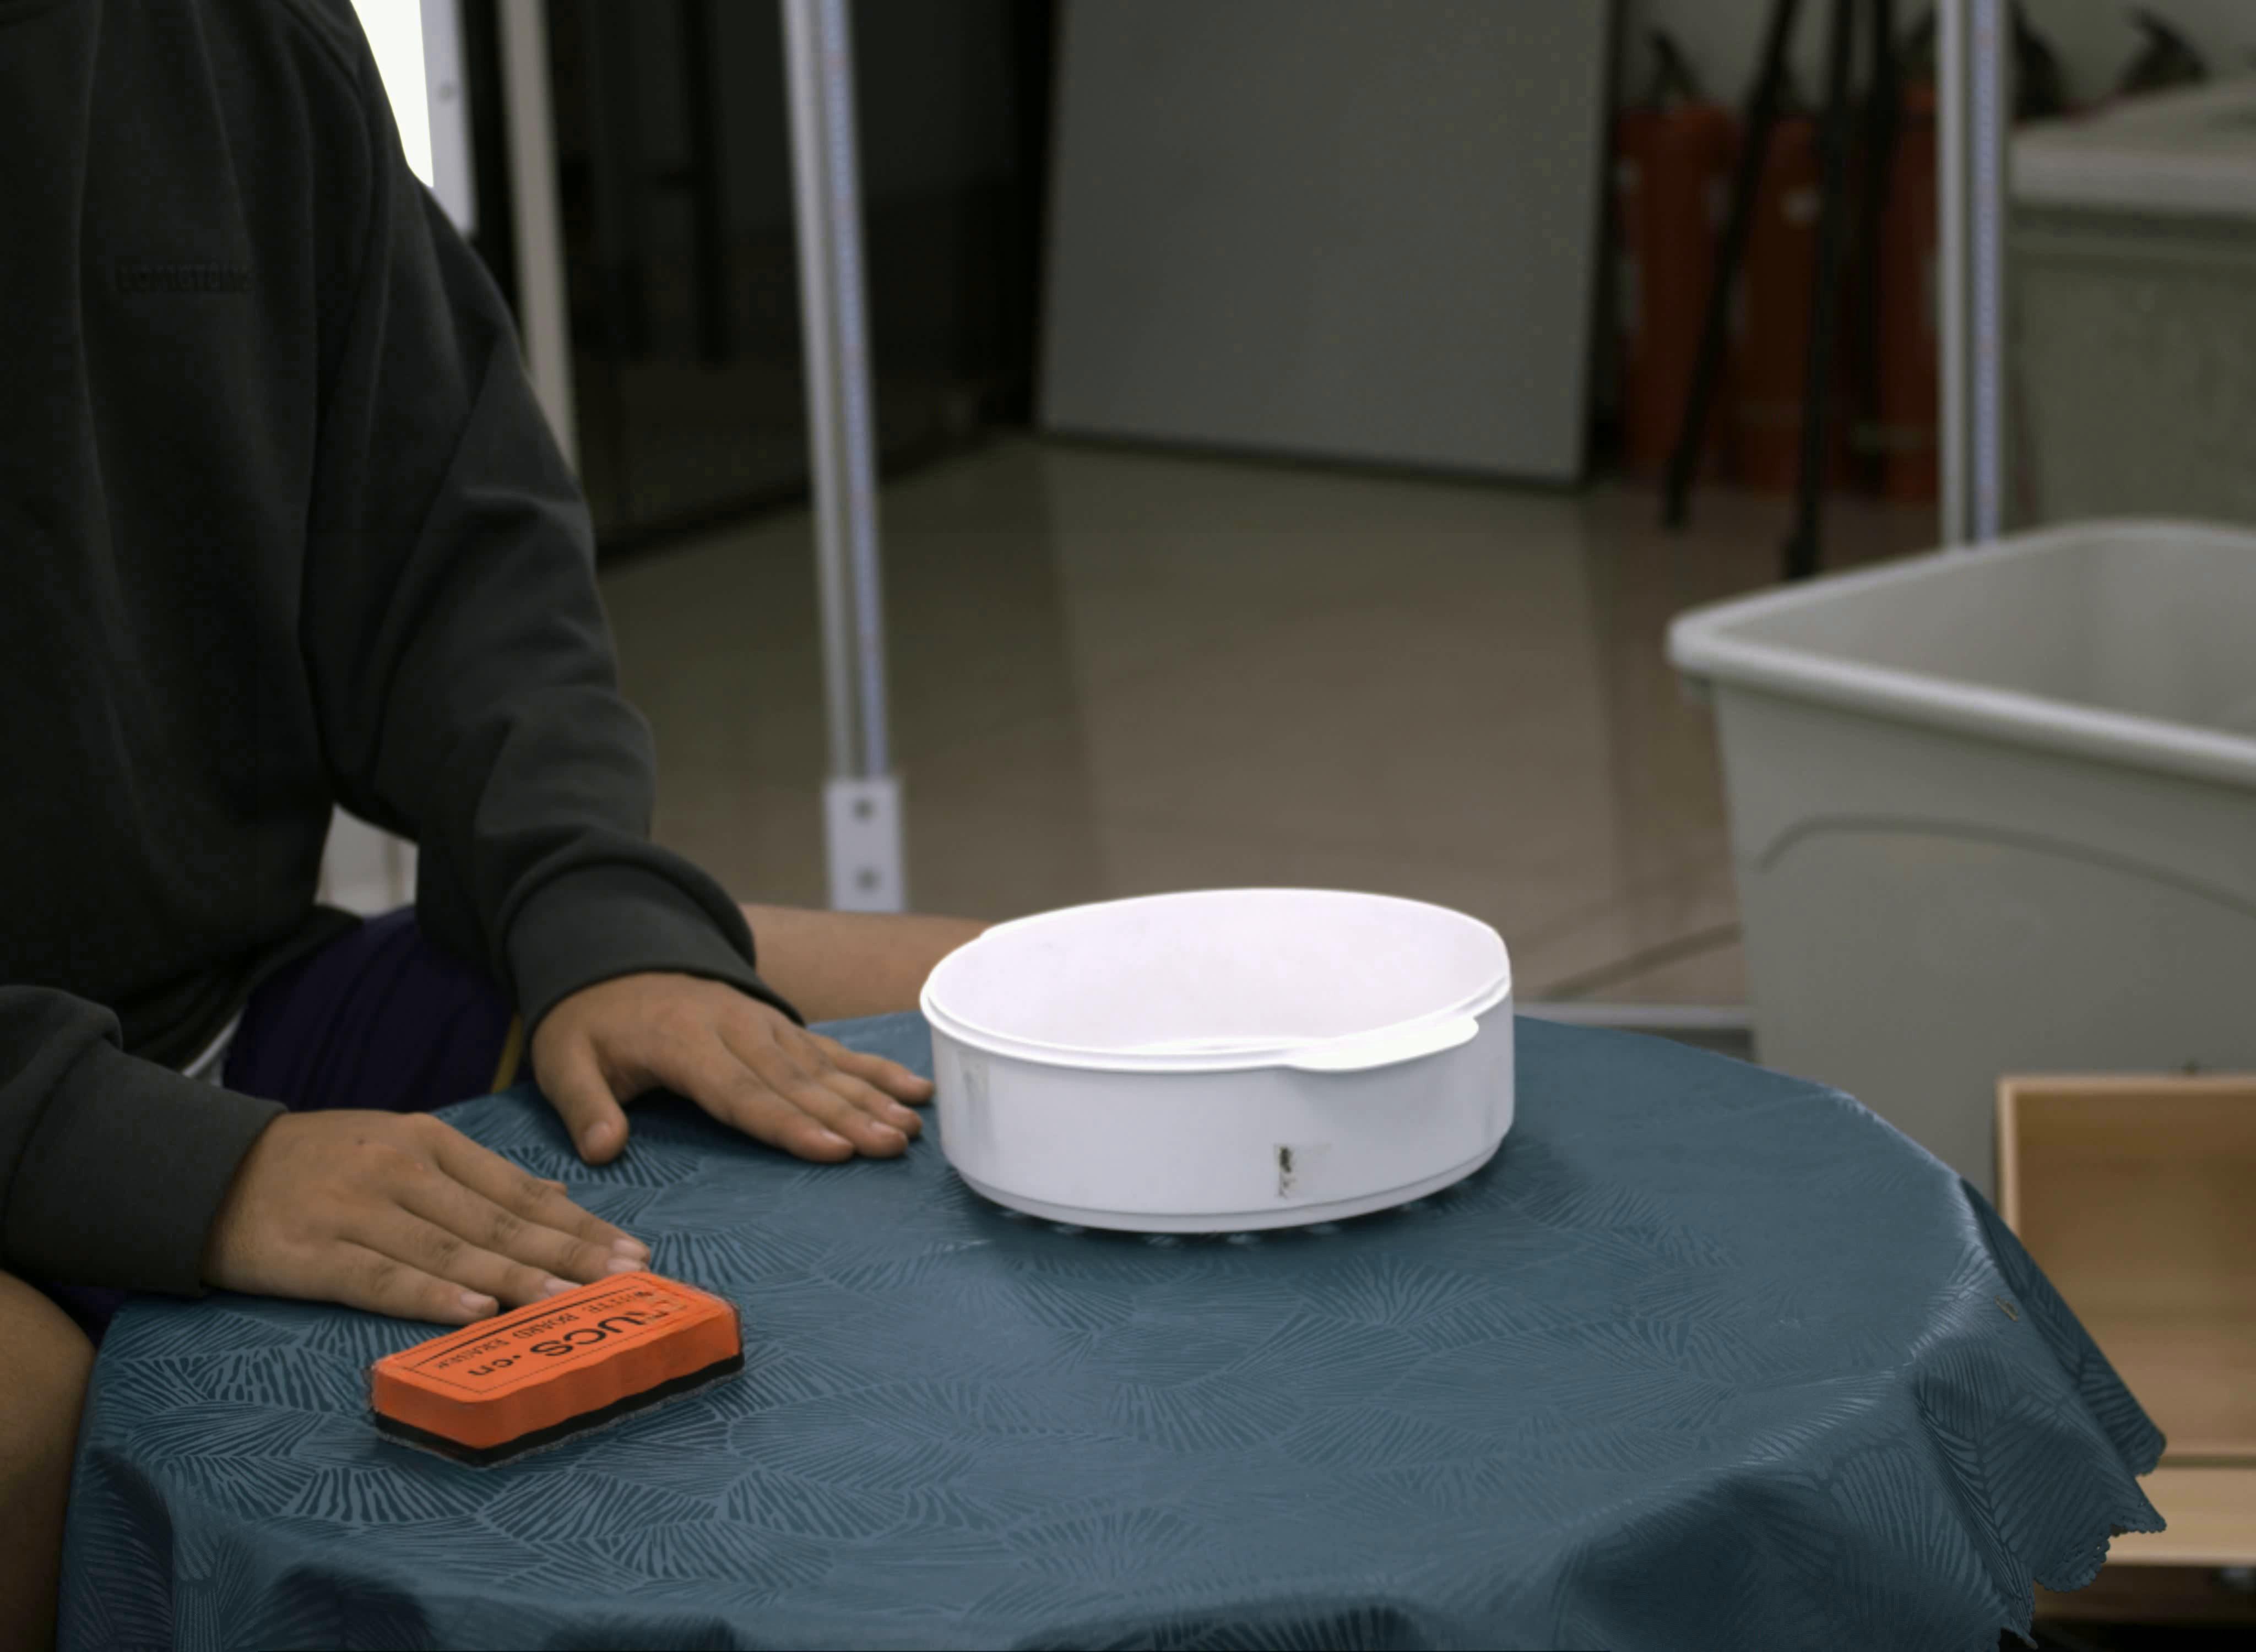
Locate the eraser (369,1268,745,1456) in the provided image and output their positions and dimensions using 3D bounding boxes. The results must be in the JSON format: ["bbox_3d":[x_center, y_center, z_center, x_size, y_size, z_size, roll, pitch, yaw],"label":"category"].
[{"bbox_3d":[-0.168,0.158,1.602,0.059,0.023,0.106,1,15,46],"label":"eraser"}]

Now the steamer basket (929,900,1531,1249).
[{"bbox_3d":[0.035,0.082,1.784,0.197,0.070,0.233,-13,17,-30],"label":"steamer basket"}]
